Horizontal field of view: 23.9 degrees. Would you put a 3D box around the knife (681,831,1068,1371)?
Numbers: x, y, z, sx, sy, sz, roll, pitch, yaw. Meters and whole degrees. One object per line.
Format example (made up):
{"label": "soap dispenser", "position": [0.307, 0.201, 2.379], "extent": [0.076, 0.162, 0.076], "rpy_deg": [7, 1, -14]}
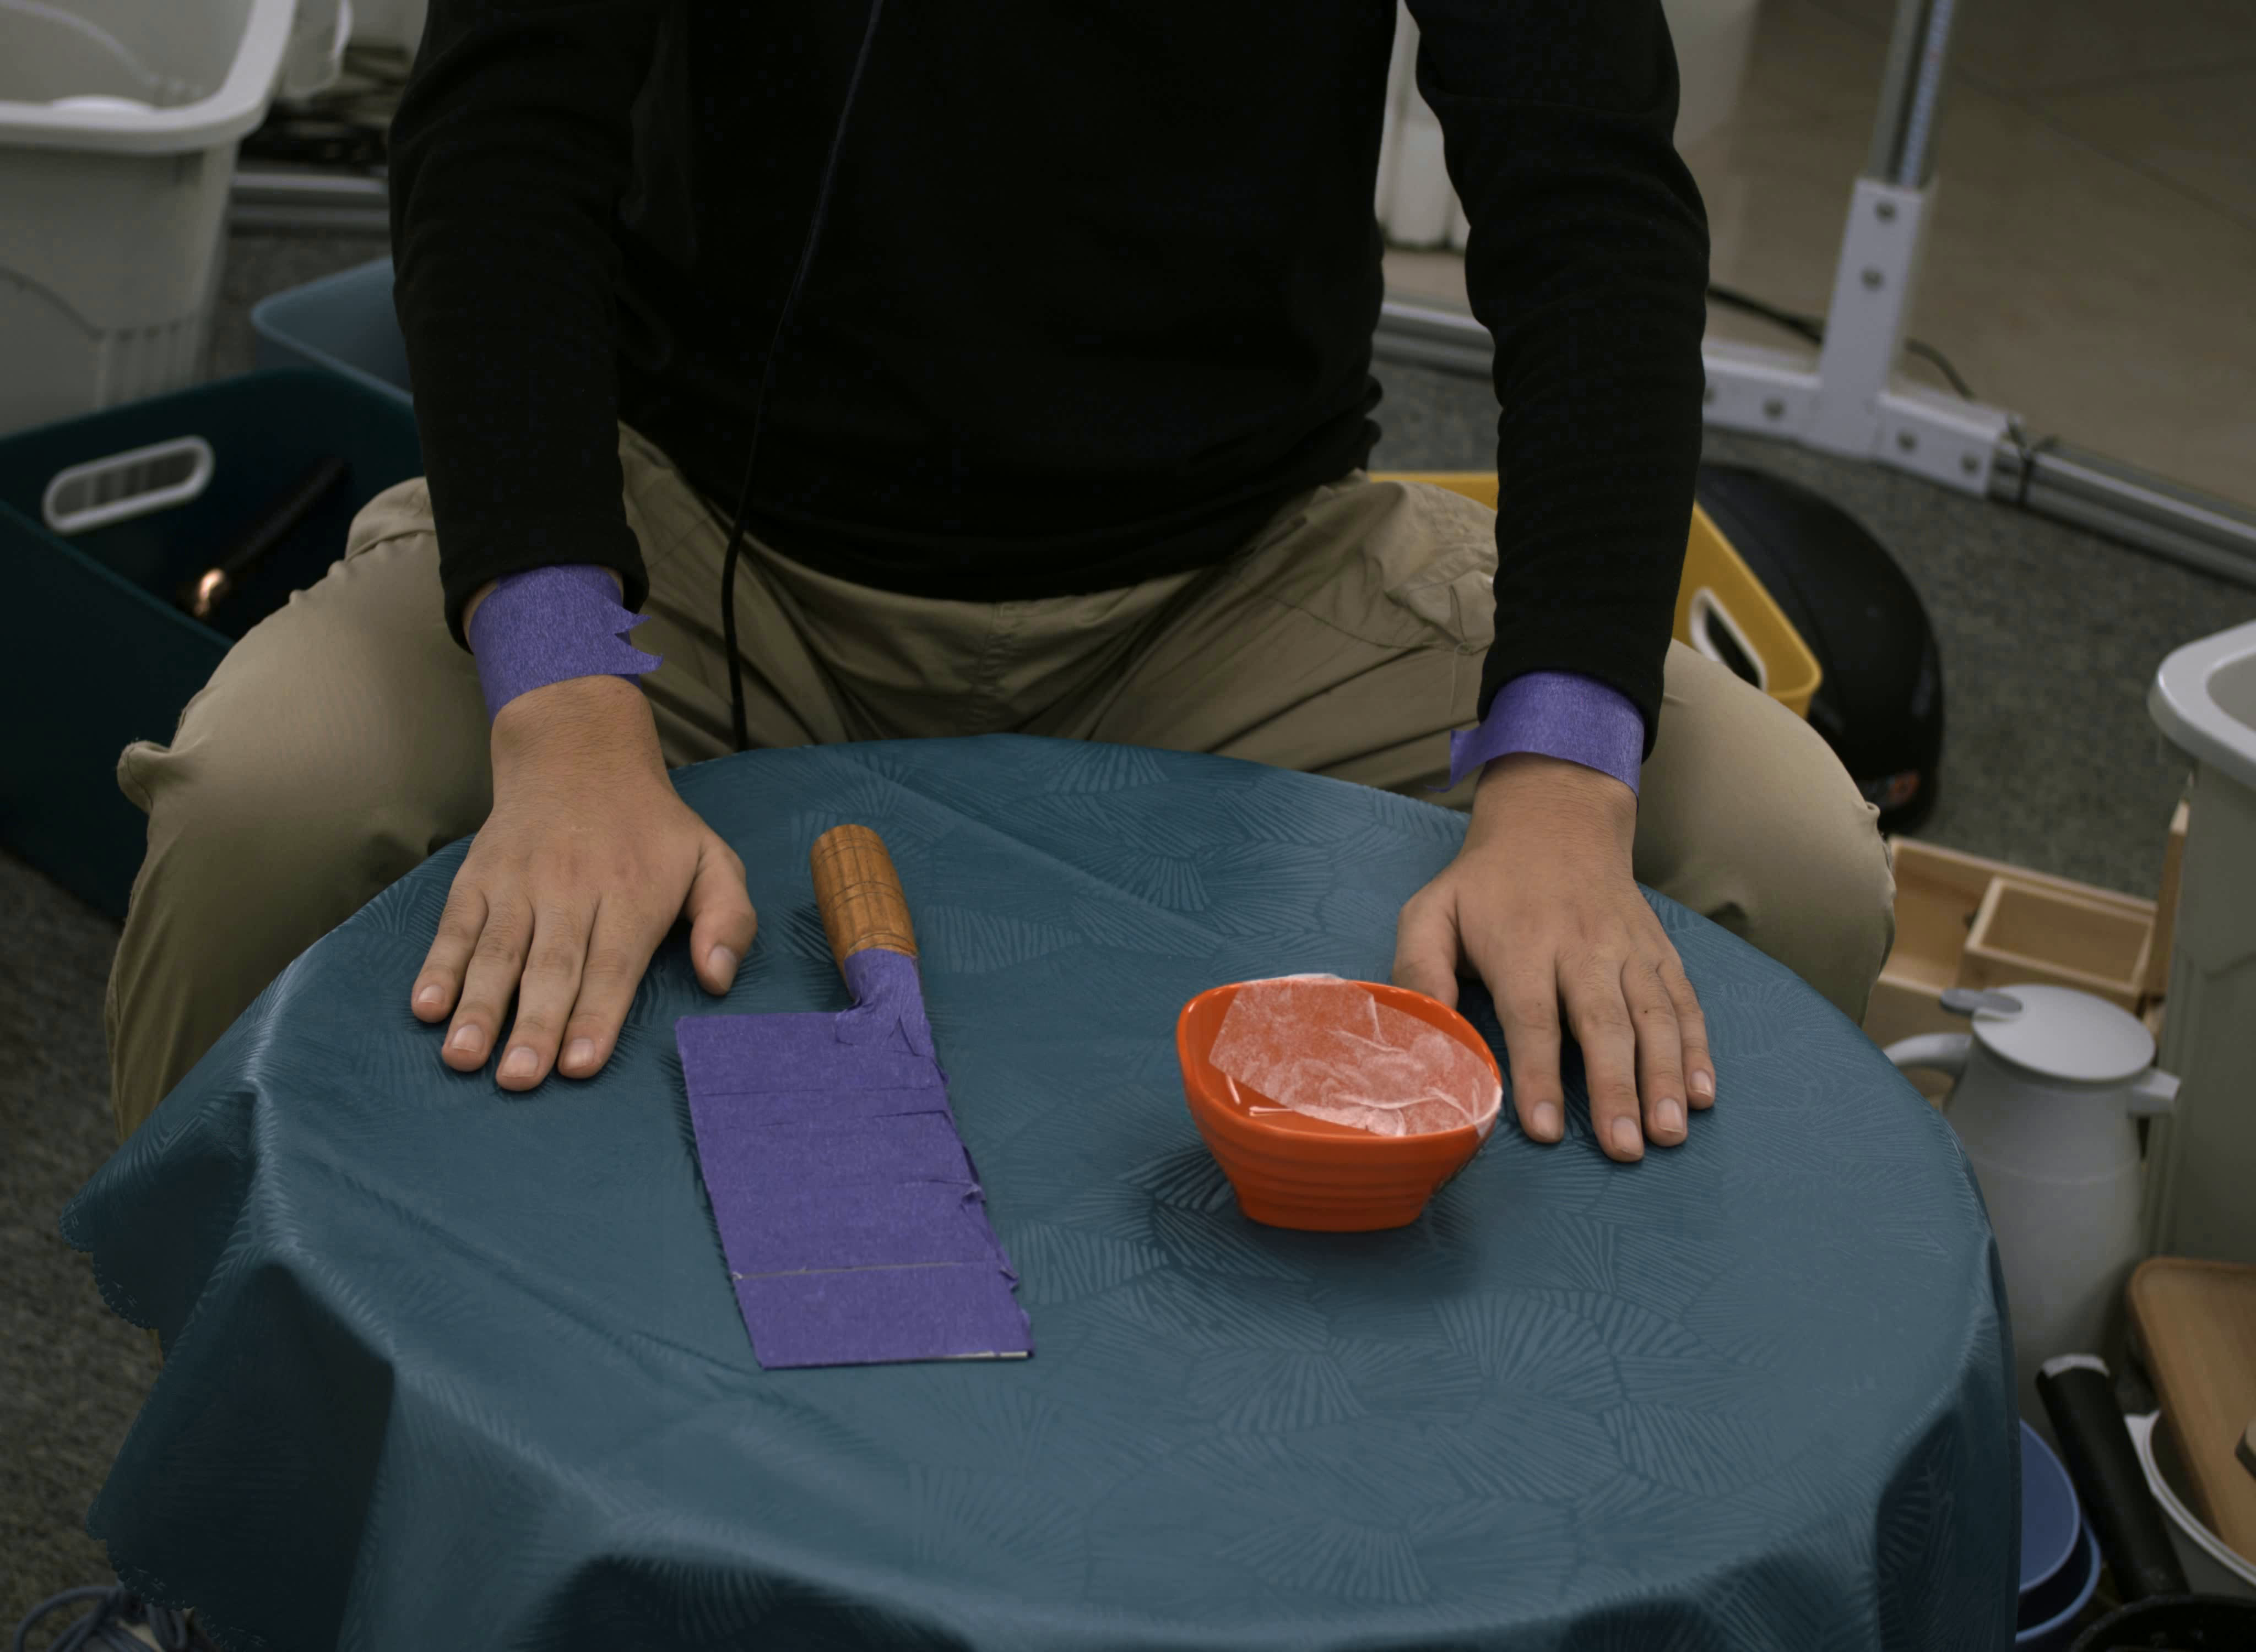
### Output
{"label": "knife", "position": [-0.102, 0.089, 1.821], "extent": [0.103, 0.032, 0.318], "rpy_deg": [0, 28, -14]}

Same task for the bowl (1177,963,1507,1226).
{"label": "bowl", "position": [0.070, 0.096, 1.811], "extent": [0.118, 0.051, 0.120], "rpy_deg": [4, 31, -3]}
